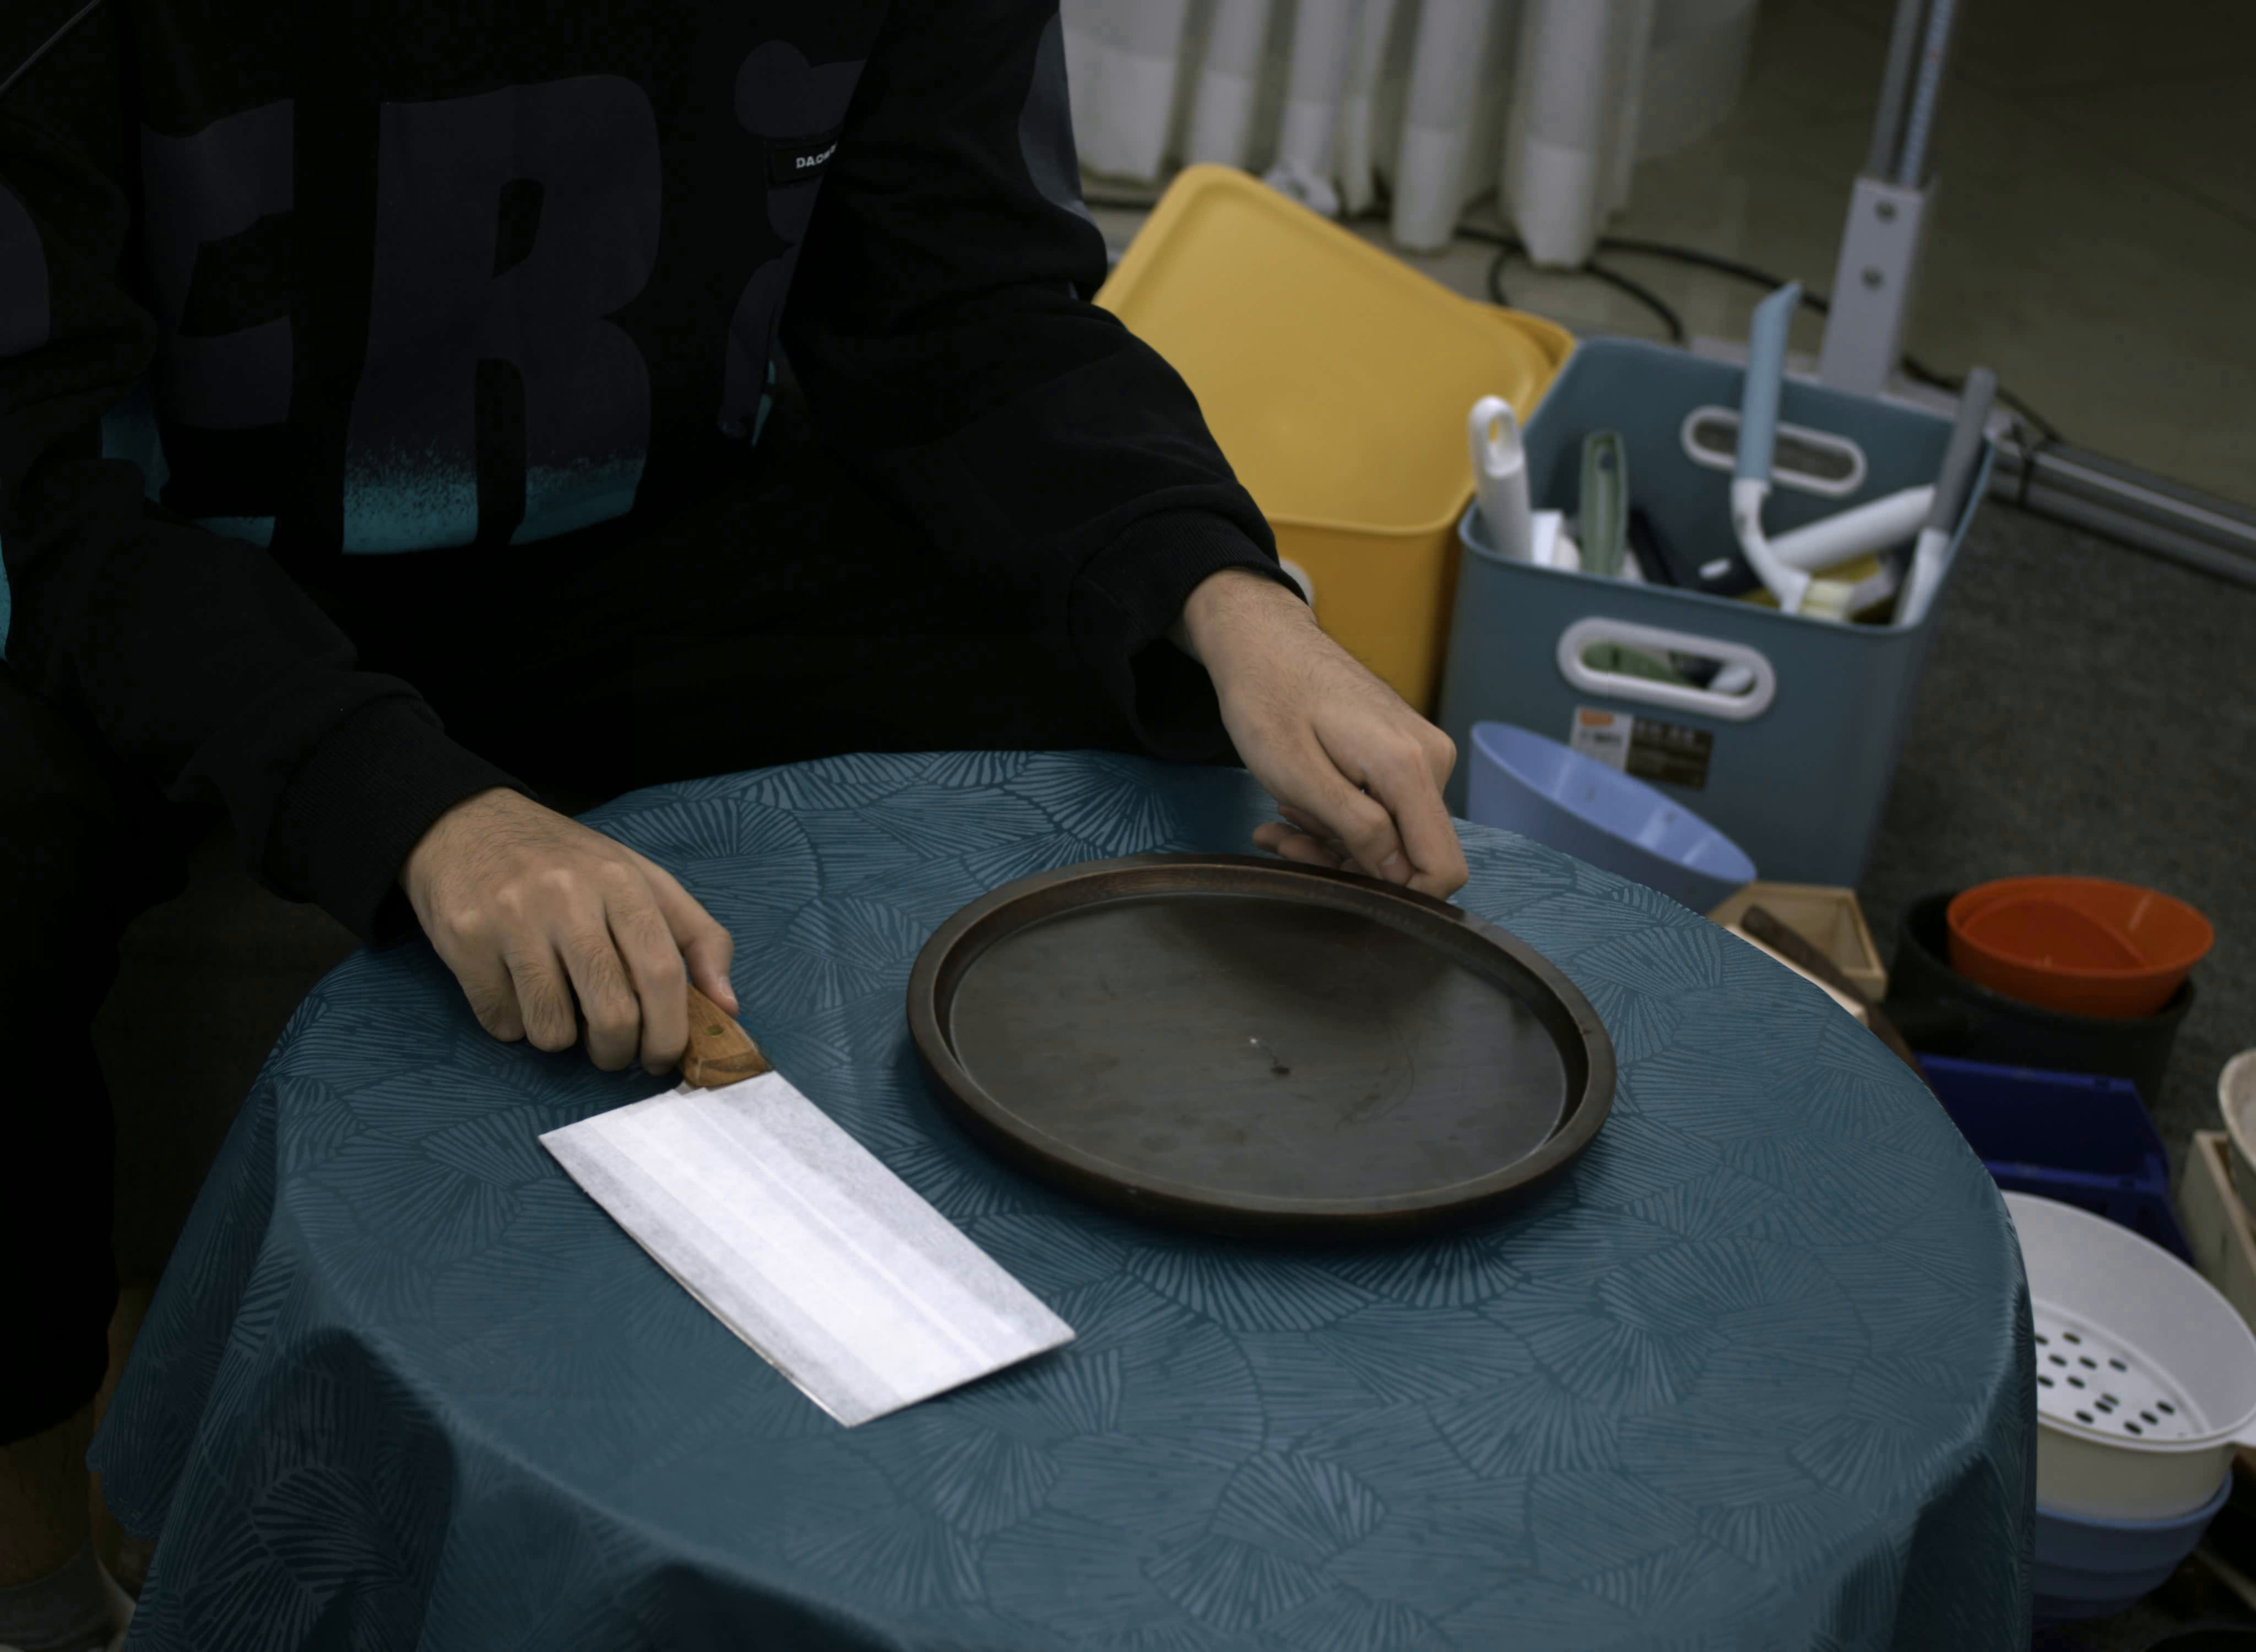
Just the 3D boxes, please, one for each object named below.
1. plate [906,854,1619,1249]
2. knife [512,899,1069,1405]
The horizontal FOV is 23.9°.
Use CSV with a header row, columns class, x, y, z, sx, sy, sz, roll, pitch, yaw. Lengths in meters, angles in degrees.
class,x,y,z,sx,sy,sz,roll,pitch,yaw
plate,0.047,0.077,1.876,0.254,0.029,0.256,6,26,-4
knife,-0.140,0.108,1.786,0.092,0.021,0.308,-19,37,-31
